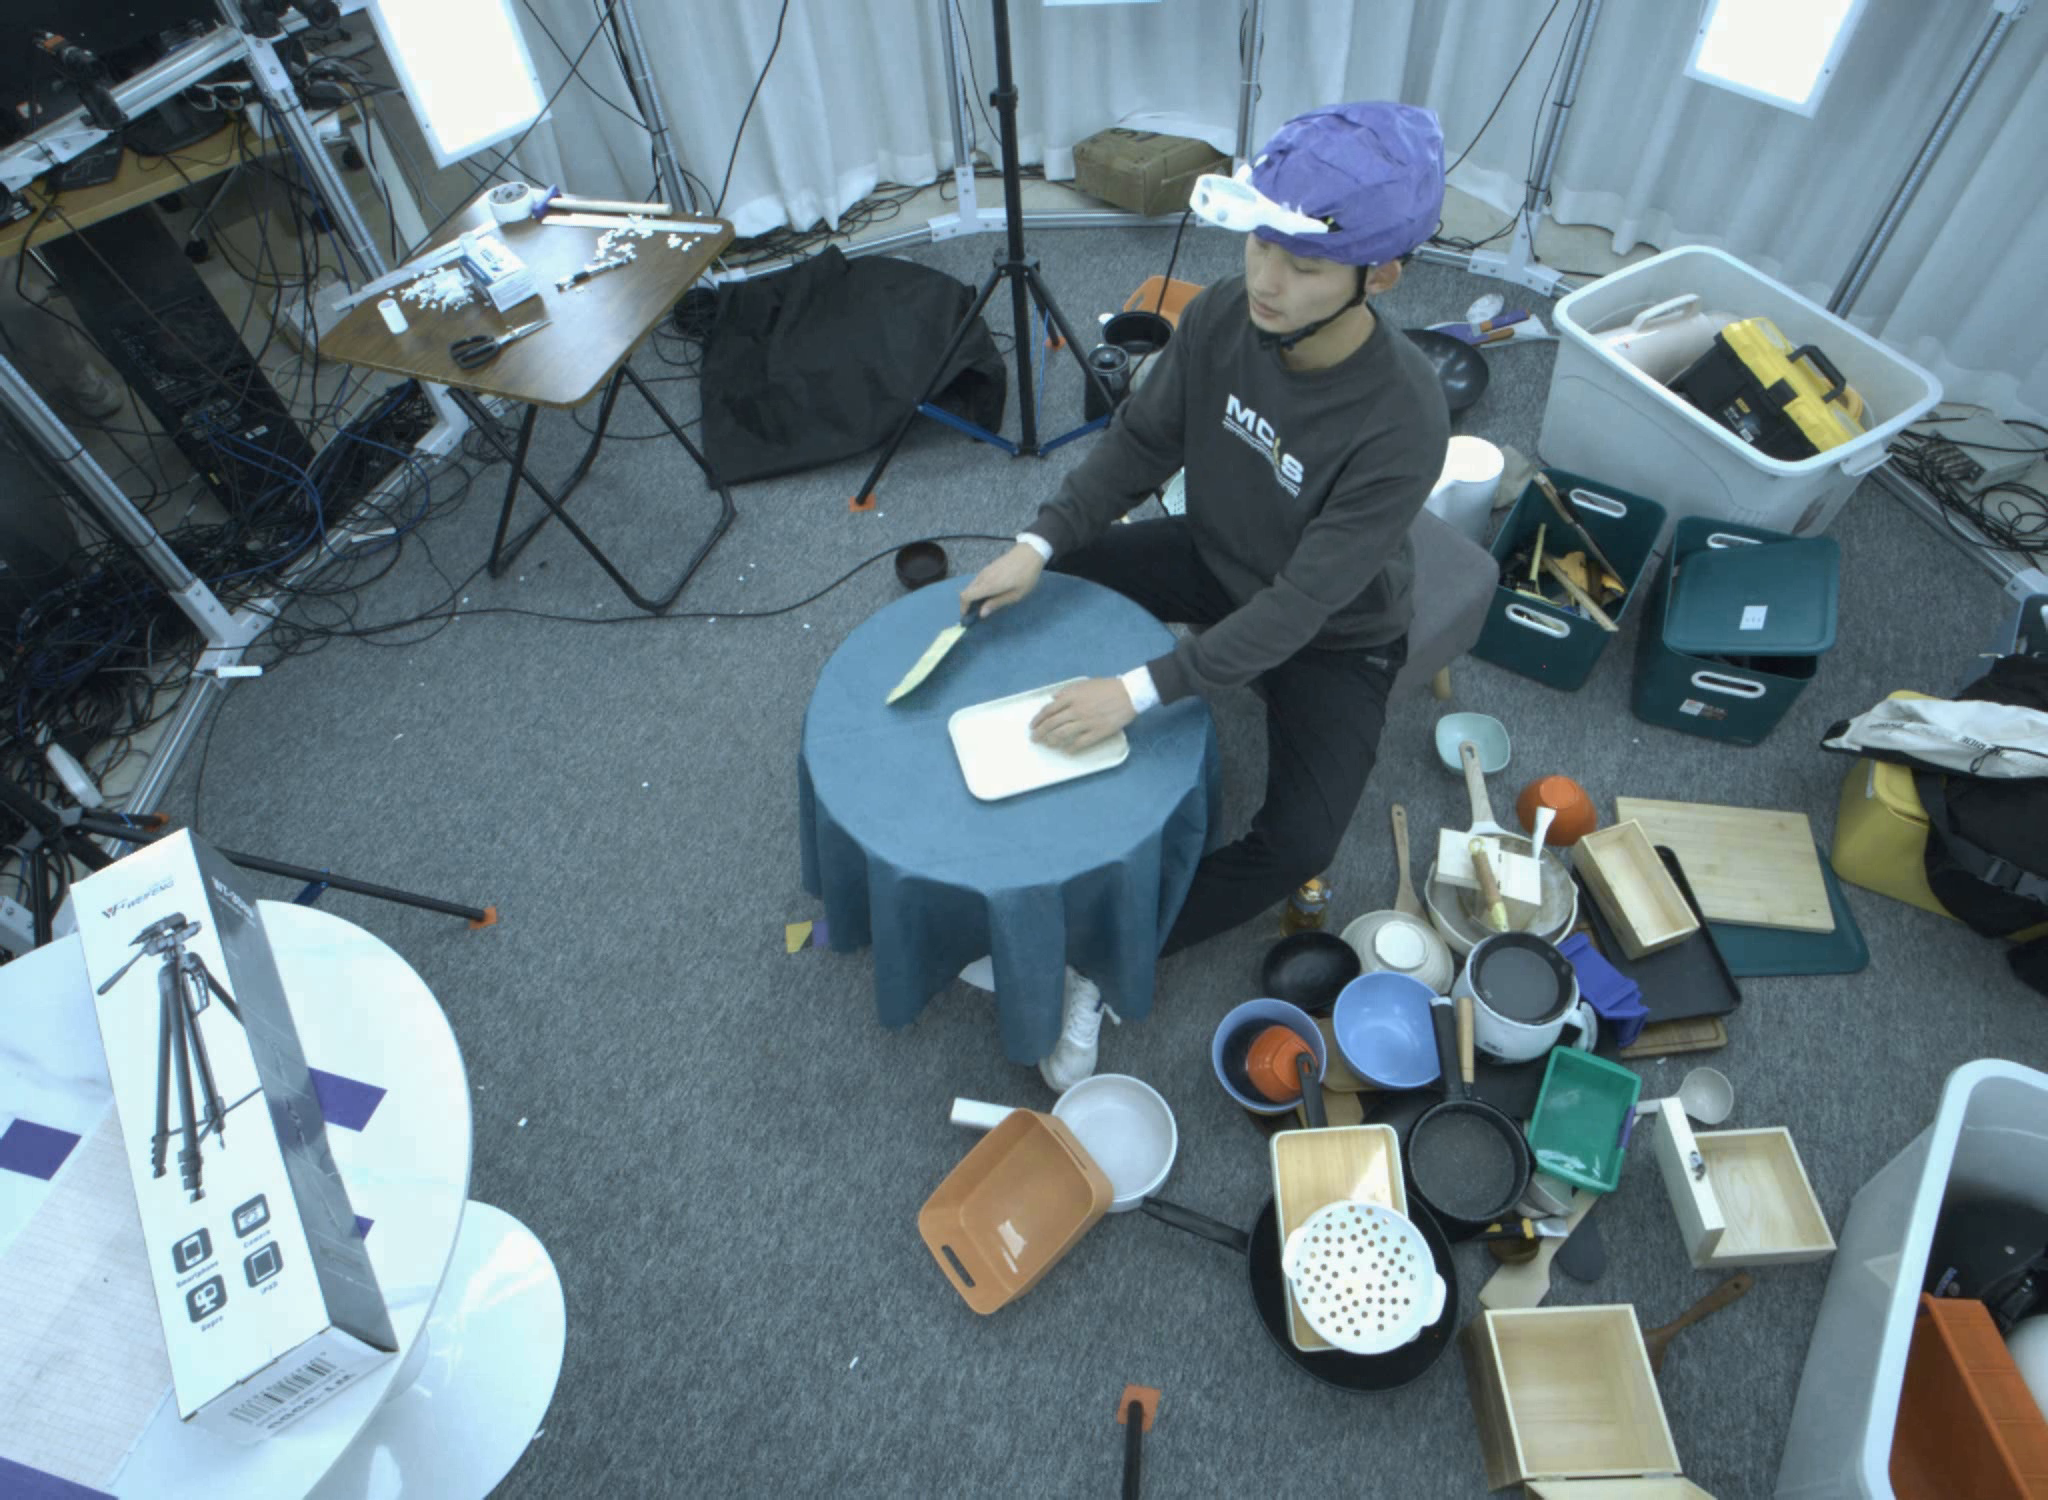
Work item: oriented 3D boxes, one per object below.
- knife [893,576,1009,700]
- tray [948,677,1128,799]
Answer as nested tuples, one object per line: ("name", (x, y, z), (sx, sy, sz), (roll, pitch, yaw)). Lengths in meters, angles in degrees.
("knife", (-0.114, -0.174, 1.895), (0.079, 0.028, 0.290), (0, 43, 48))
("tray", (0.020, -0.018, 1.796), (0.241, 0.017, 0.168), (-15, 55, -9))
